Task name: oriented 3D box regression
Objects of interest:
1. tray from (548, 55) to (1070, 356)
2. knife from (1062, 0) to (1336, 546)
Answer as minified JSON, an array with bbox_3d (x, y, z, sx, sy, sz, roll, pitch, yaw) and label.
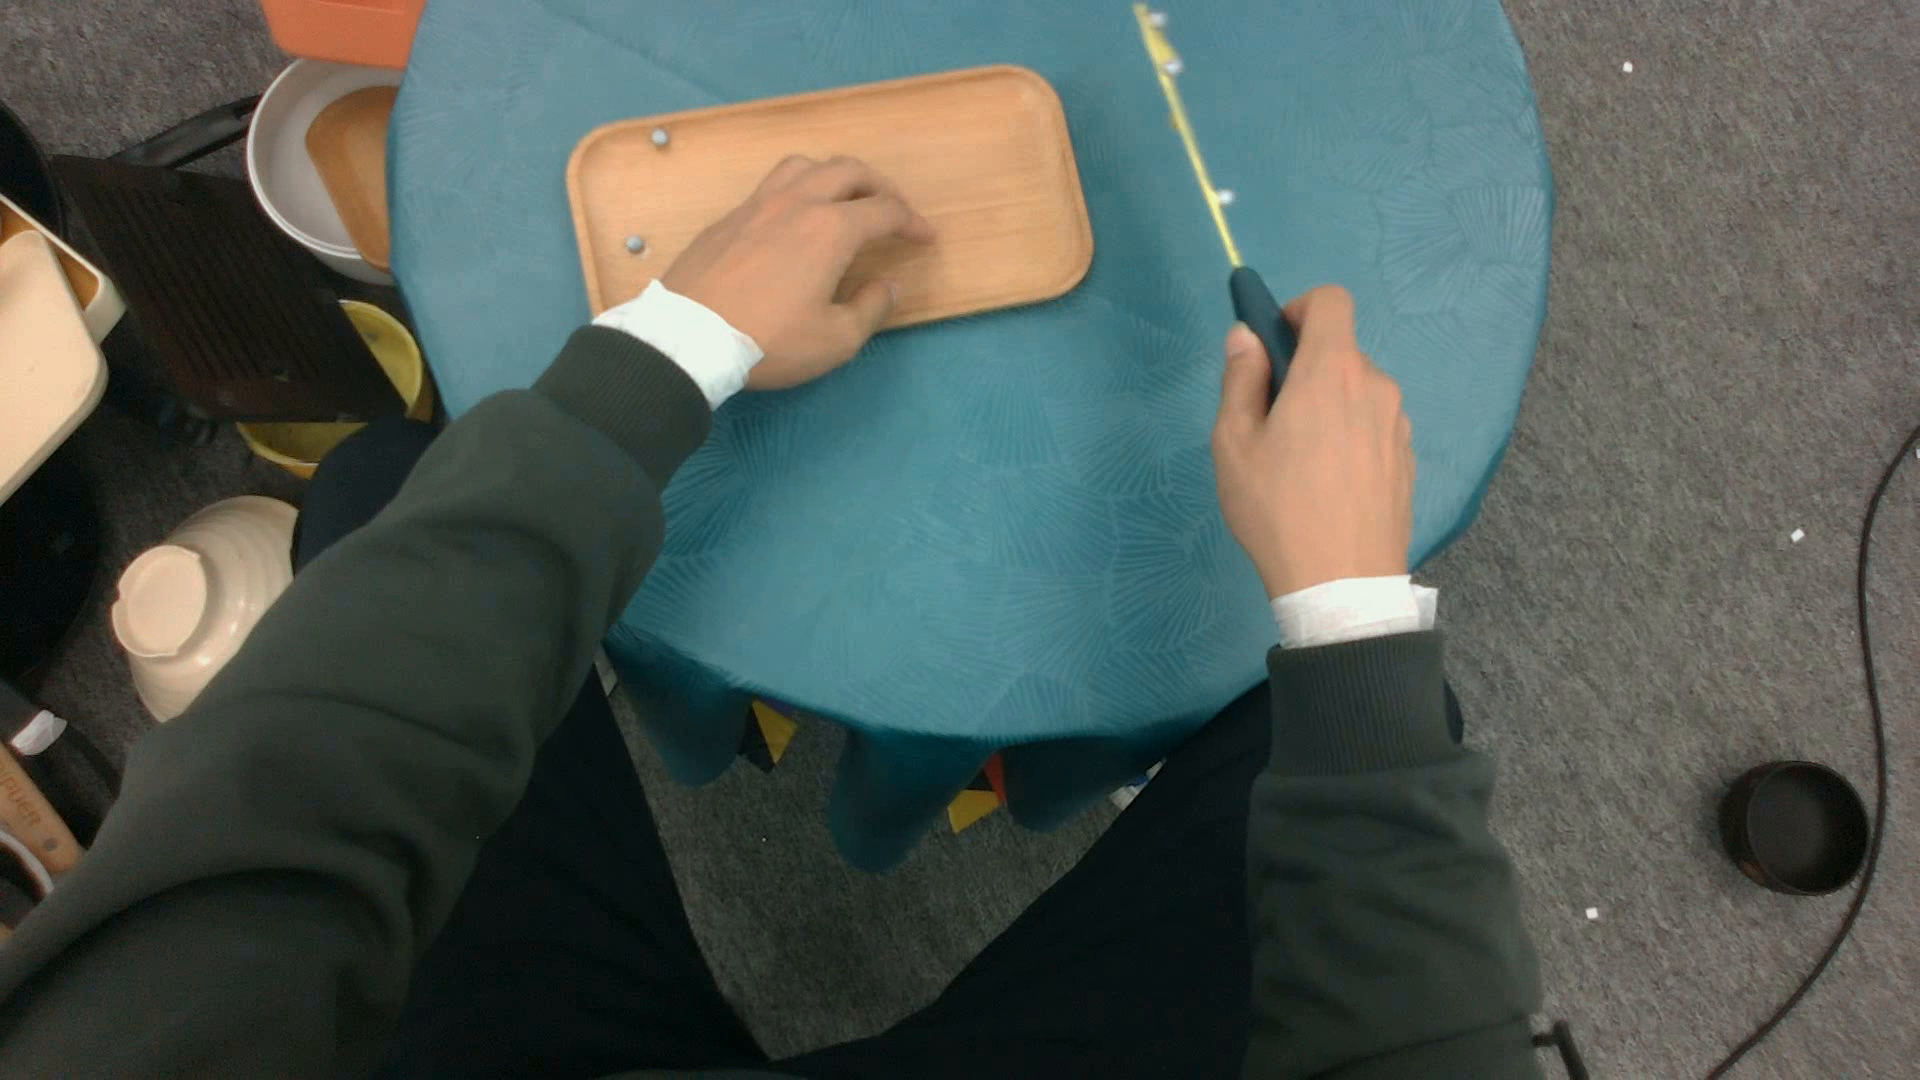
[{"bbox_3d":[-0.073,-0.170,0.694,0.251,0.023,0.130,-11,84,-12],"label":"tray"},{"bbox_3d":[0.102,-0.129,0.627,0.027,0.081,0.290,-25,80,11],"label":"knife"}]
